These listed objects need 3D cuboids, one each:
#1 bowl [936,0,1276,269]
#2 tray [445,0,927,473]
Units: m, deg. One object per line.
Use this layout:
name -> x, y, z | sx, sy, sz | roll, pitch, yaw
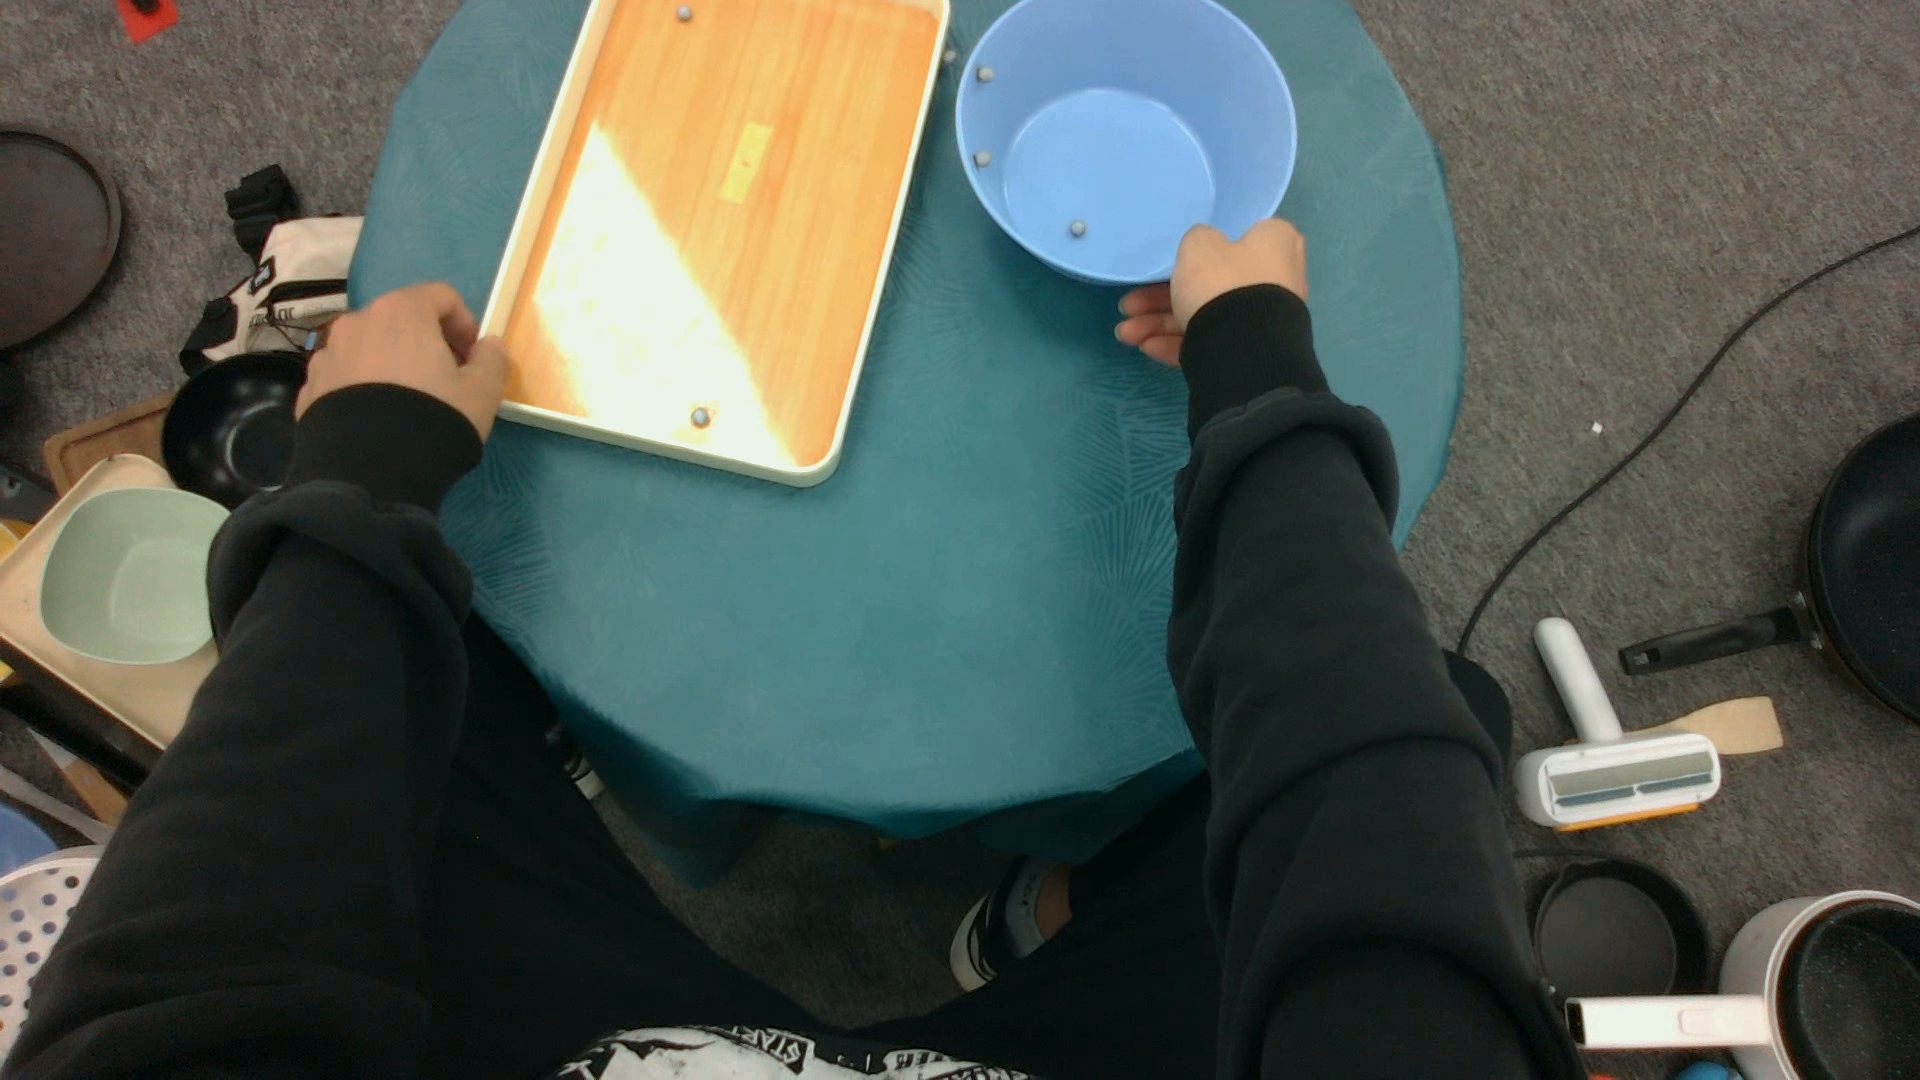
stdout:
bowl -> 0.074, -0.213, 0.736 | 0.176, 0.070, 0.176 | 1, 73, -3
tray -> -0.139, -0.194, 0.737 | 0.191, 0.027, 0.301 | 13, 74, -1
